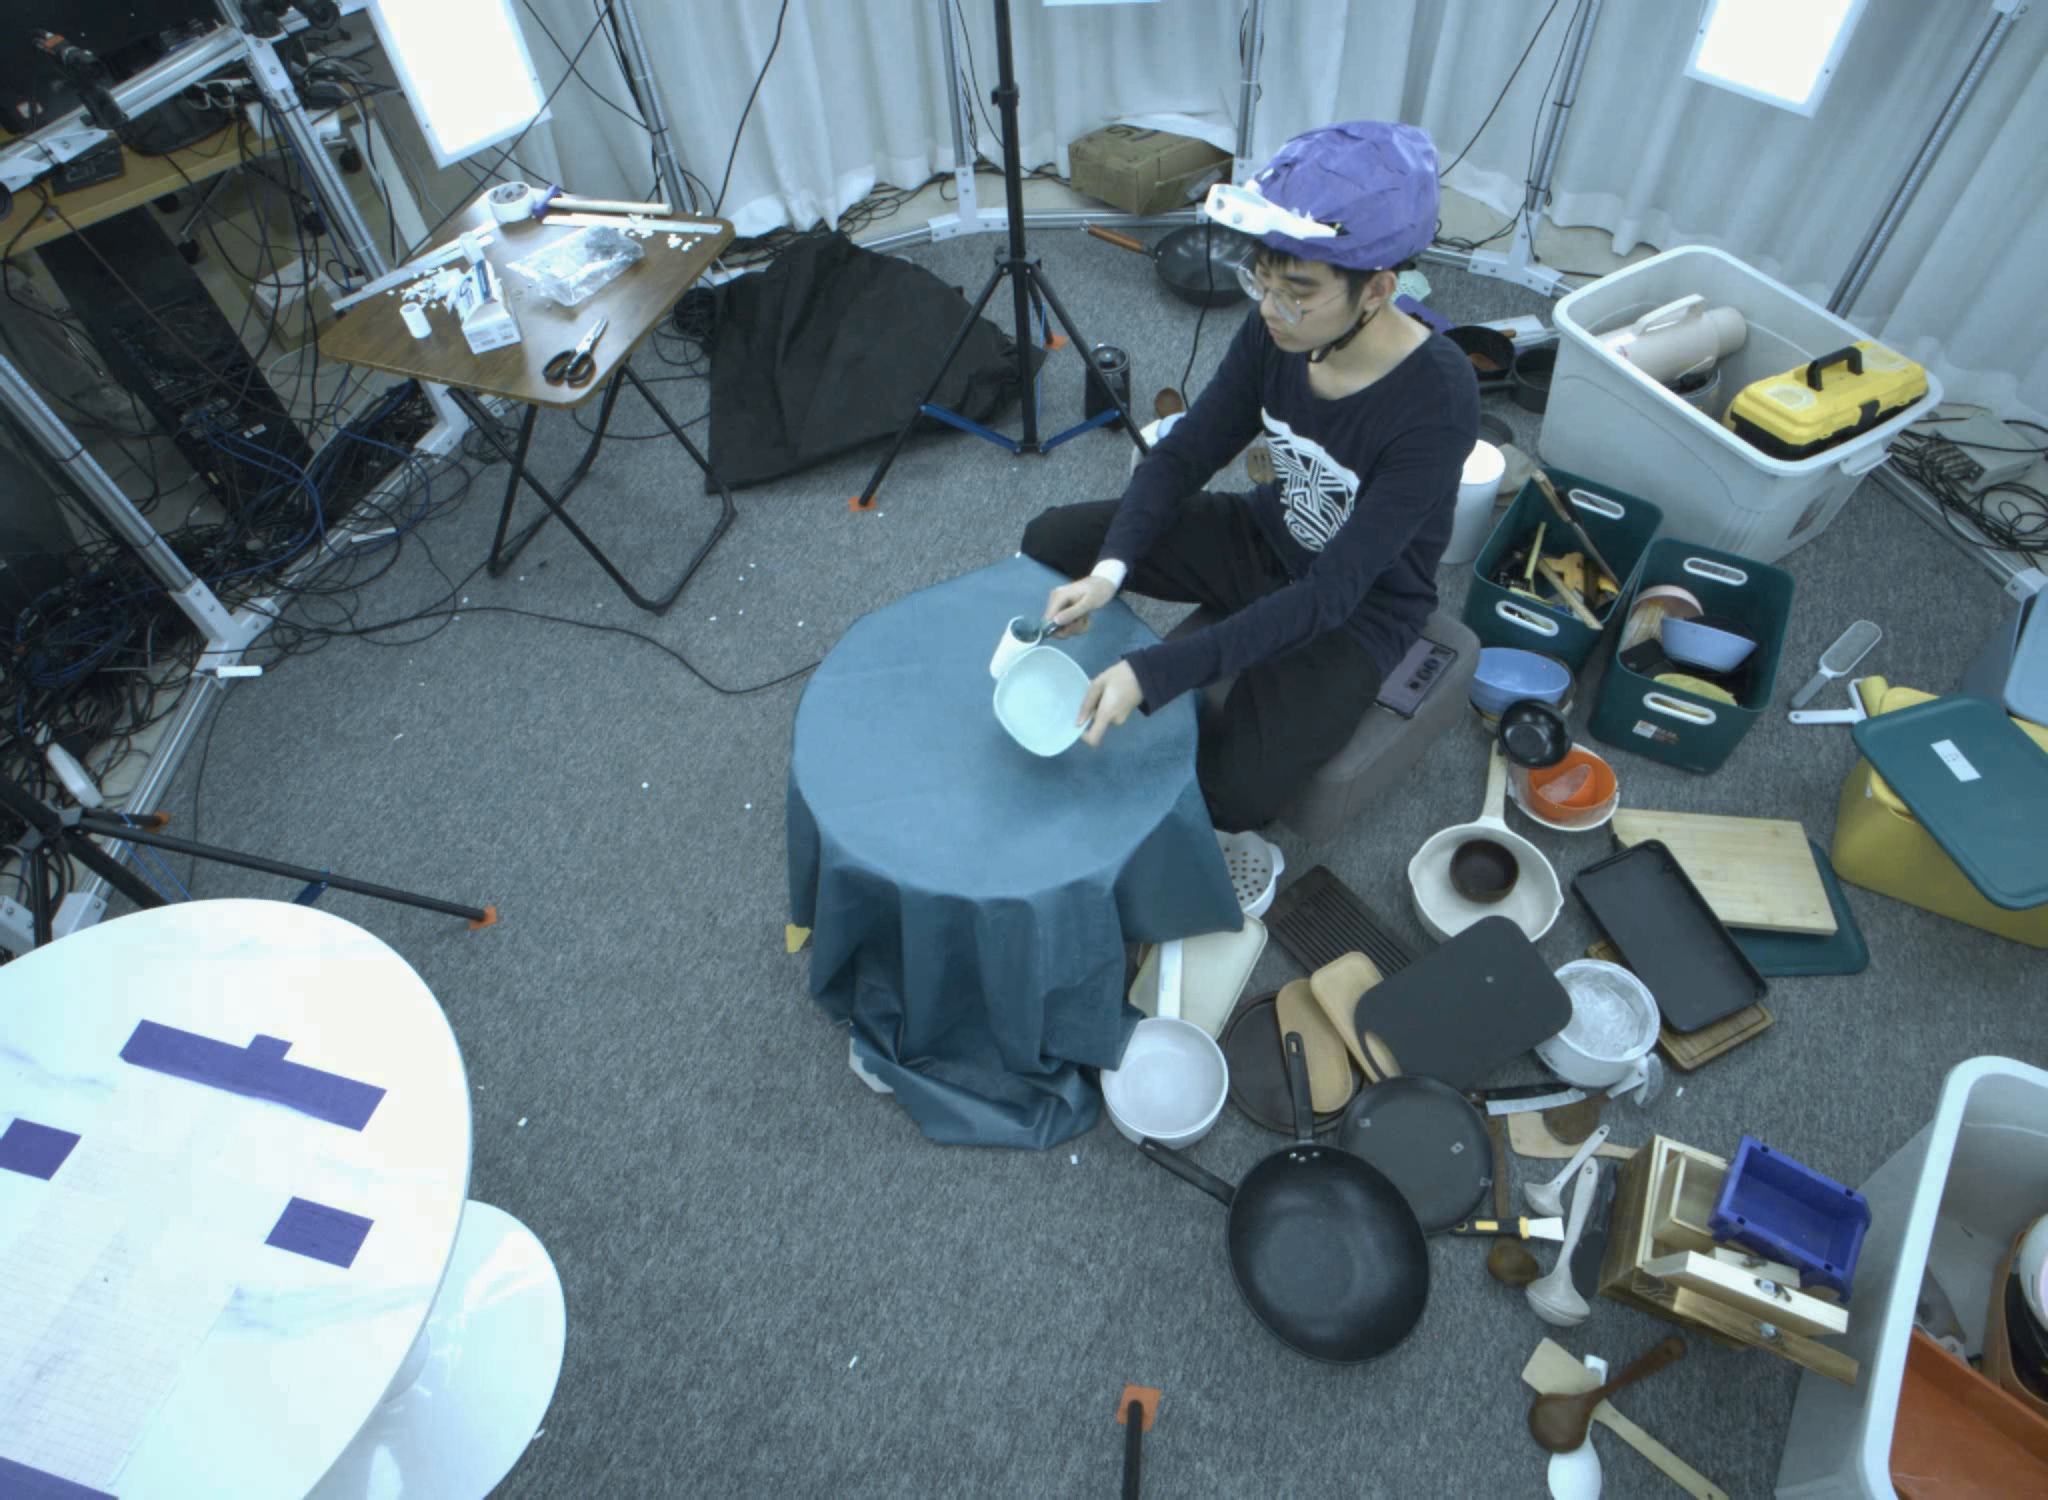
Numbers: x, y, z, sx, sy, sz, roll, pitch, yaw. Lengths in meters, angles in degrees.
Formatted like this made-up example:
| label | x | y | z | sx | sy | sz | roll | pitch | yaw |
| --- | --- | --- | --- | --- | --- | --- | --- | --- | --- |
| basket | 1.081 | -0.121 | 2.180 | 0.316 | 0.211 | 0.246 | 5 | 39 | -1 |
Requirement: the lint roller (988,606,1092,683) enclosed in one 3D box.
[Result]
| label | x | y | z | sx | sy | sz | roll | pitch | yaw |
| --- | --- | --- | --- | --- | --- | --- | --- | --- | --- |
| lint roller | 0.028 | -0.175 | 1.770 | 0.048 | 0.134 | 0.181 | 43 | 55 | 9 |

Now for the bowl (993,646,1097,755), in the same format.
| label | x | y | z | sx | sy | sz | roll | pitch | yaw |
| --- | --- | --- | --- | --- | --- | --- | --- | --- | --- |
| bowl | 0.022 | -0.068 | 1.720 | 0.154 | 0.058 | 0.151 | 0 | 91 | -21 |
